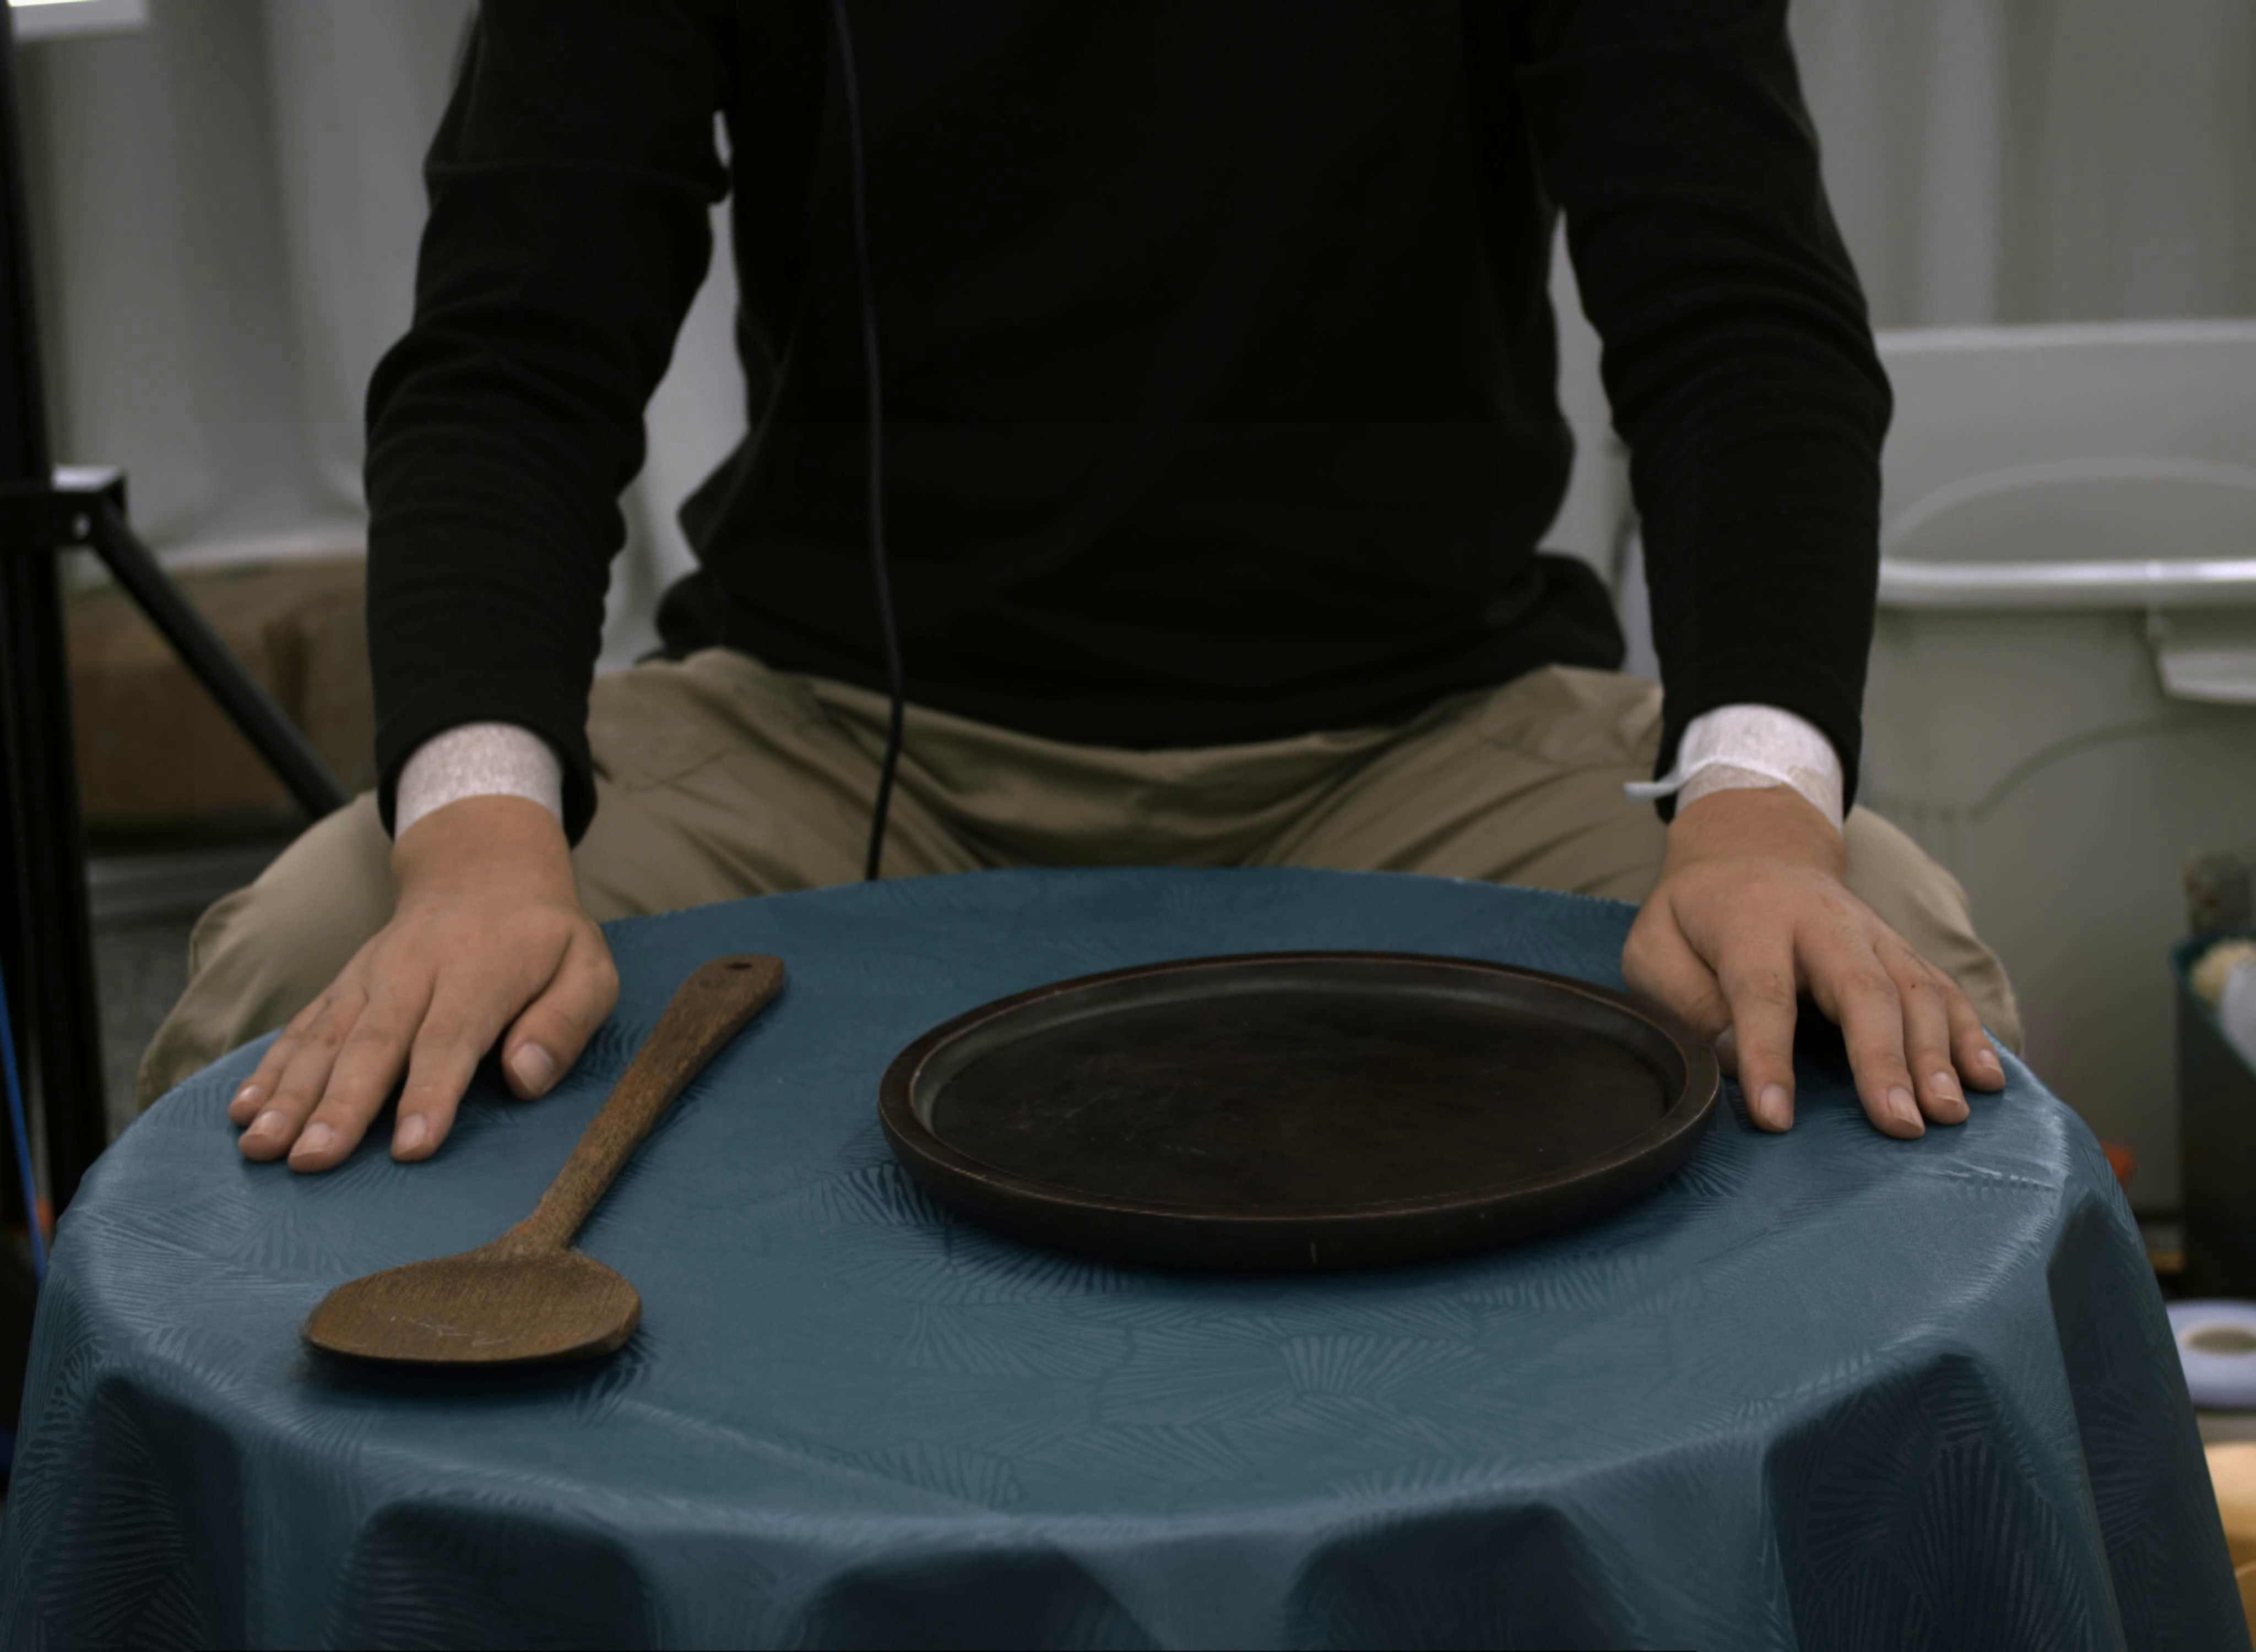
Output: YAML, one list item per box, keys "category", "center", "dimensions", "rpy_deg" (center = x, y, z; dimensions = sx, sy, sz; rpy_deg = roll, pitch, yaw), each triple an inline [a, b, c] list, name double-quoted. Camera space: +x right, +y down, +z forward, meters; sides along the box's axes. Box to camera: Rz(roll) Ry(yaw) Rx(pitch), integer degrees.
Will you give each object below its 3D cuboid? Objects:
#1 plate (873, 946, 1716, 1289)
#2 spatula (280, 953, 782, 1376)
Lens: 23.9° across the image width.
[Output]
- category: "plate"
  center: [0.050, 0.085, 1.591]
  dimensions: [0.253, 0.029, 0.256]
  rpy_deg: [-4, 17, 0]
- category: "spatula"
  center: [-0.157, 0.095, 1.603]
  dimensions: [0.096, 0.016, 0.384]
  rpy_deg: [1, 16, 9]
